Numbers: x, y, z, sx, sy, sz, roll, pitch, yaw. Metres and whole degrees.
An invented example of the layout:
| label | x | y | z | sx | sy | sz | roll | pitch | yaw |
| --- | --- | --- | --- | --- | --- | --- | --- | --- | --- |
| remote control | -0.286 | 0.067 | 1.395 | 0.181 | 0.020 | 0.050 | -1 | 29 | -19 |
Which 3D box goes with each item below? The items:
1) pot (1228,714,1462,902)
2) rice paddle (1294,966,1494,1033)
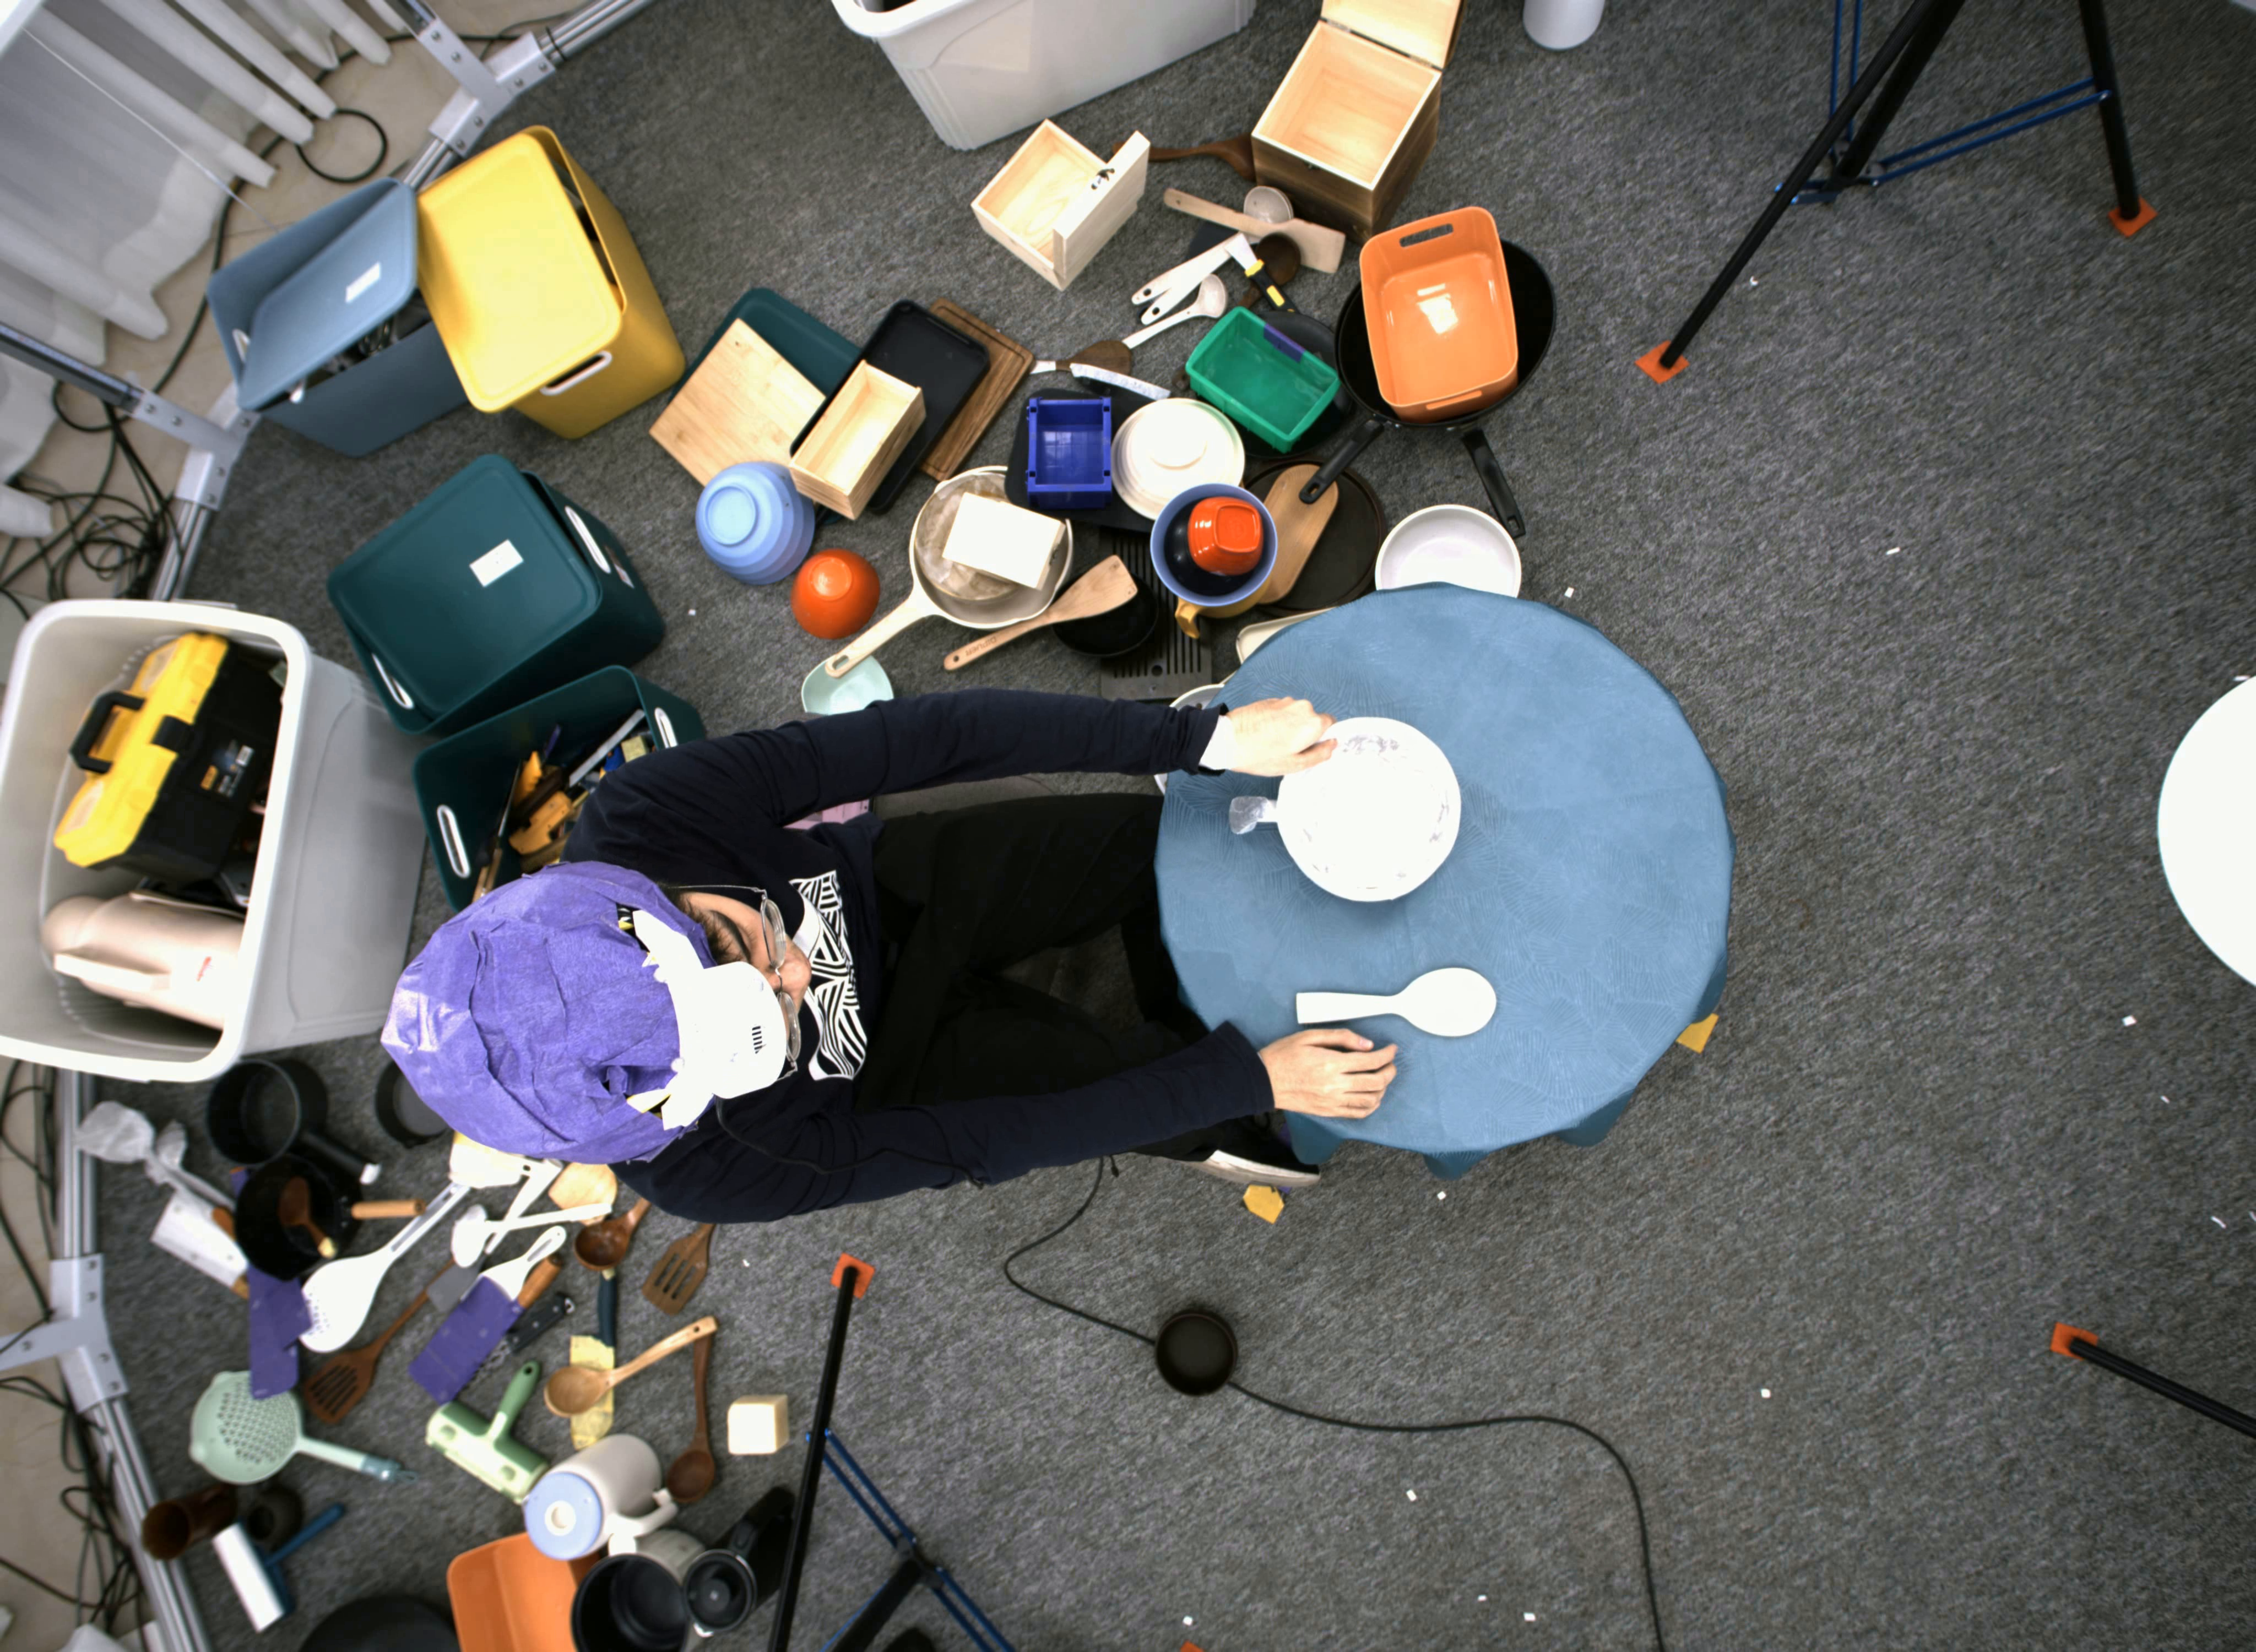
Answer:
| label | x | y | z | sx | sy | sz | roll | pitch | yaw |
| --- | --- | --- | --- | --- | --- | --- | --- | --- | --- |
| pot | 0.216 | -0.014 | 1.403 | 0.234 | 0.137 | 0.177 | -2 | 84 | 9 |
| rice paddle | 0.276 | 0.182 | 1.438 | 0.206 | 0.029 | 0.068 | -5 | 87 | 11 |
